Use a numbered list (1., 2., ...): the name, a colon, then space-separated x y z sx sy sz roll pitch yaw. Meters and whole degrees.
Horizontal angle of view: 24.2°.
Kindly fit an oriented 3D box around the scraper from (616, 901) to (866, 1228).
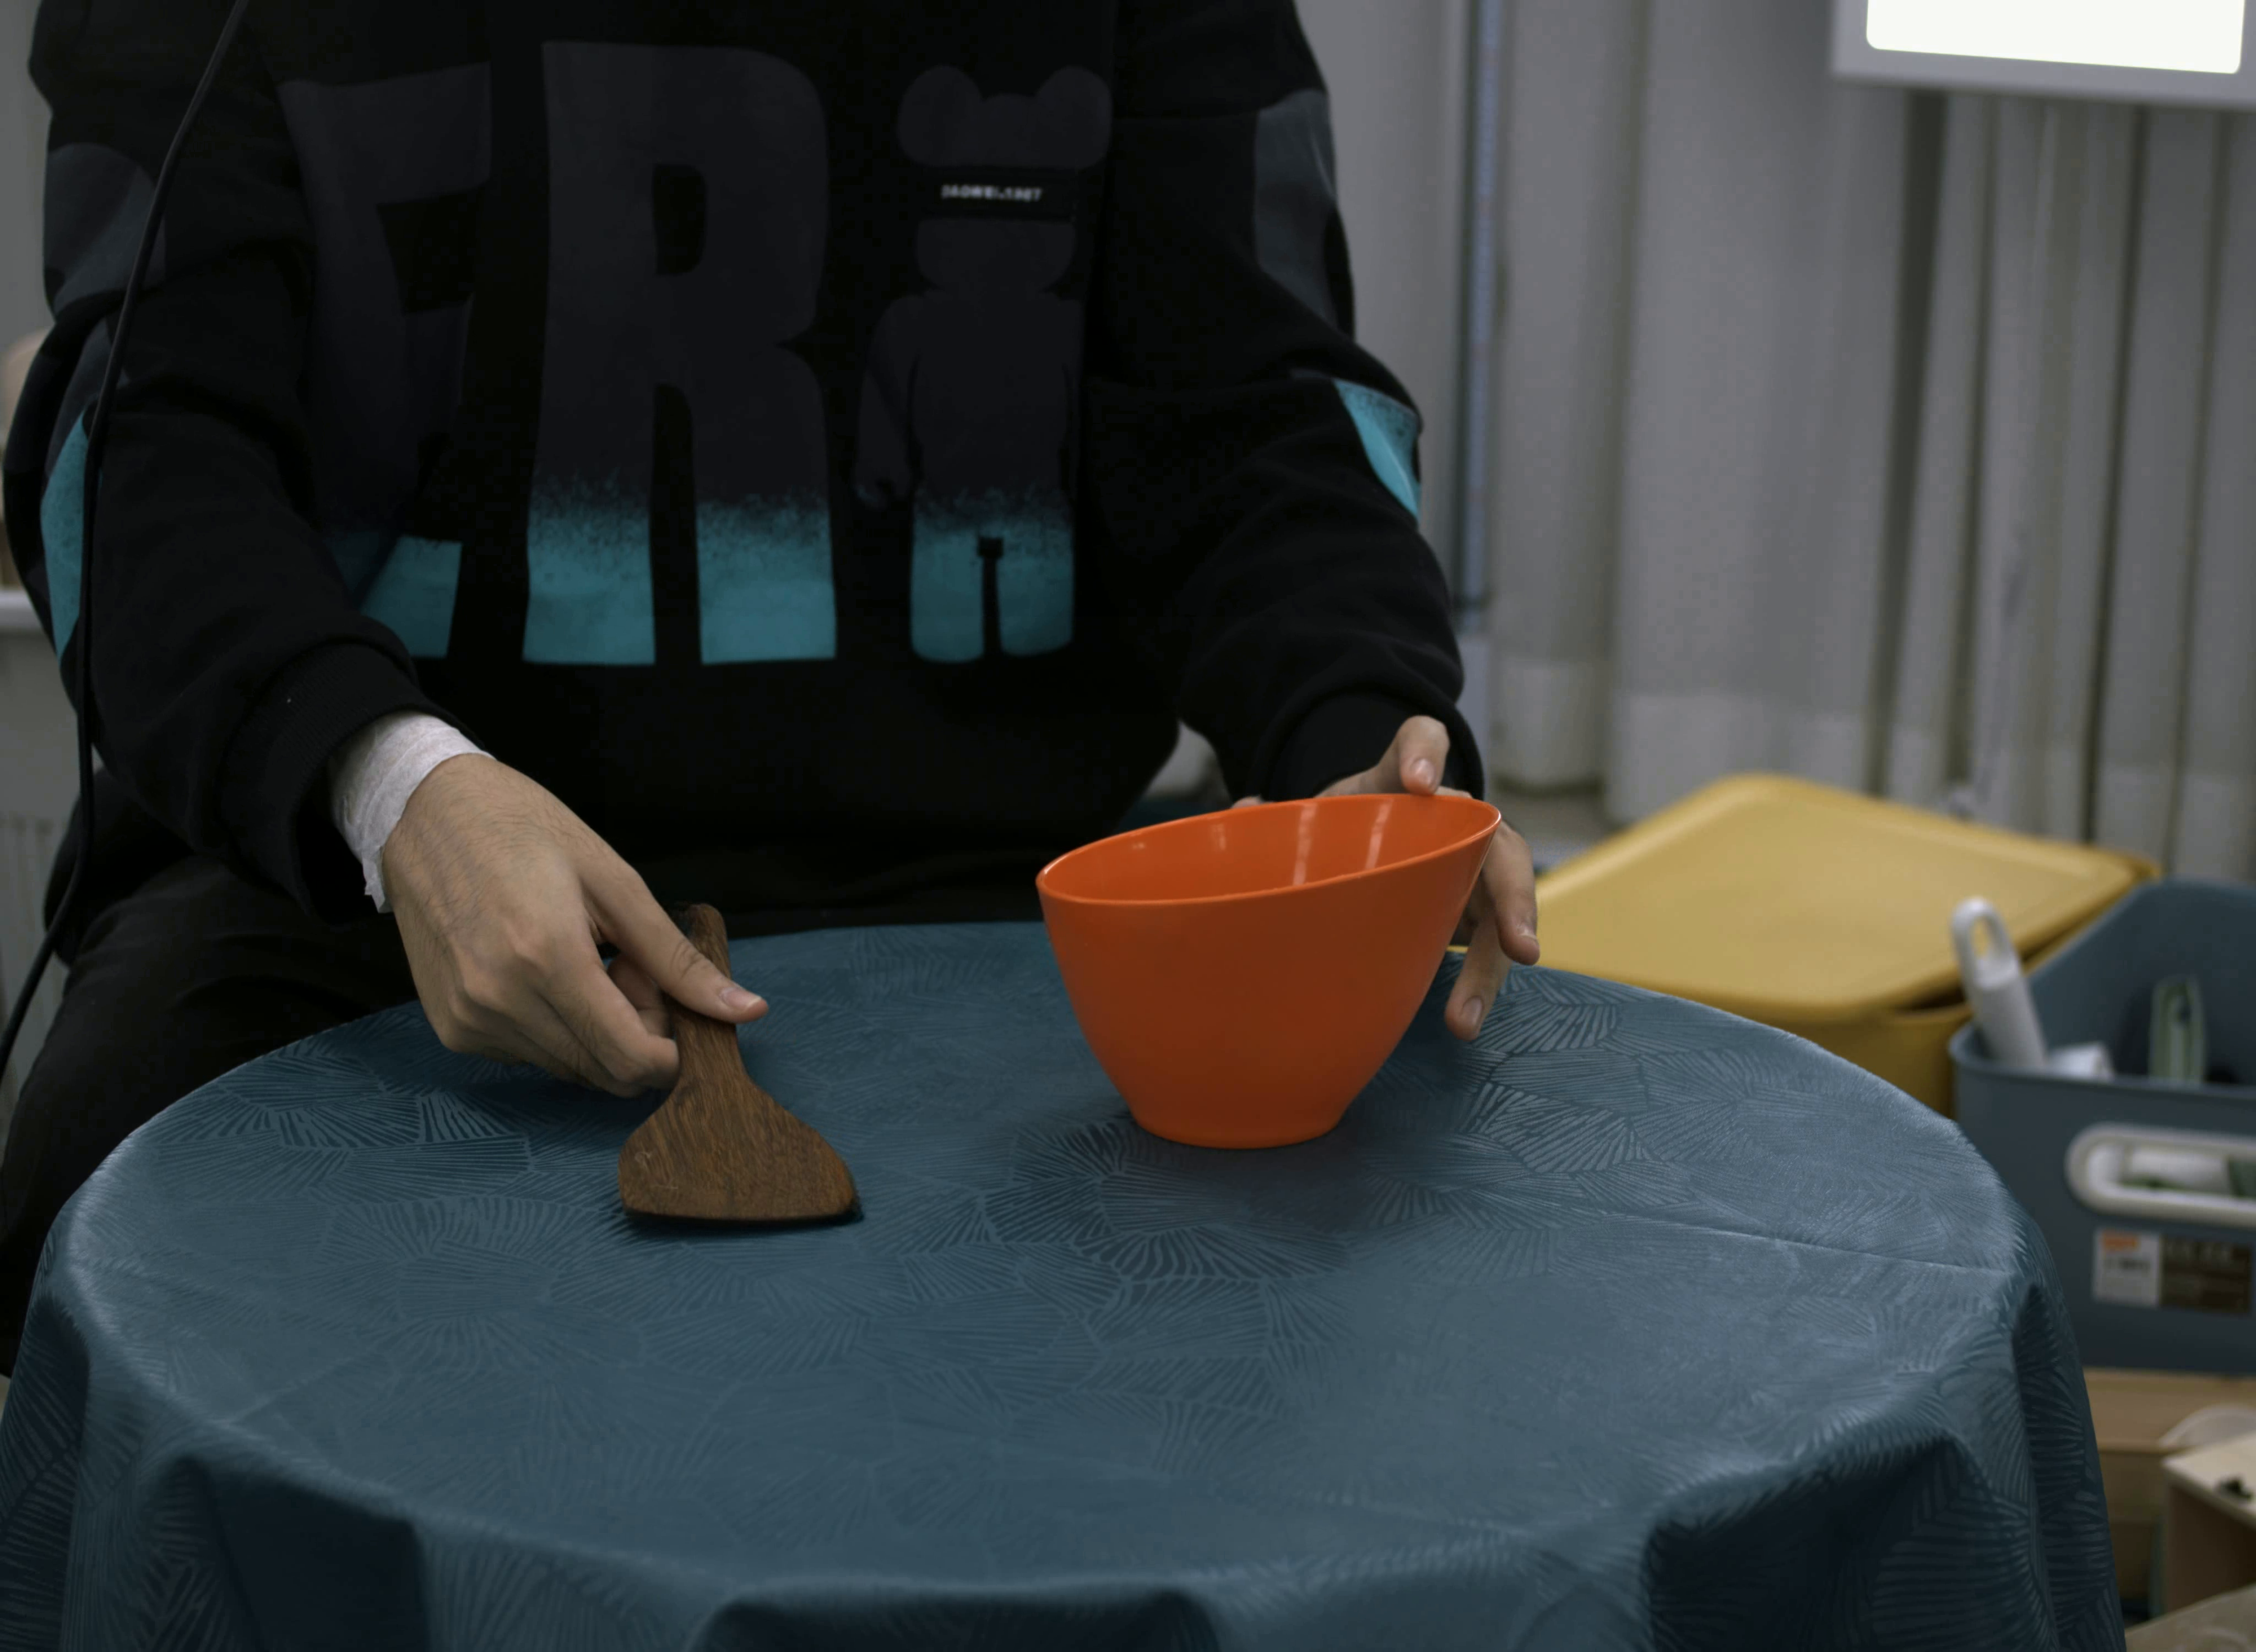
1. scraper: -0.132 0.075 1.676 0.076 0.011 0.209 1 27 -11

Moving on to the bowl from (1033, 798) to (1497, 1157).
1. bowl: 0.044 0.048 1.675 0.147 0.105 0.147 -1 16 1
